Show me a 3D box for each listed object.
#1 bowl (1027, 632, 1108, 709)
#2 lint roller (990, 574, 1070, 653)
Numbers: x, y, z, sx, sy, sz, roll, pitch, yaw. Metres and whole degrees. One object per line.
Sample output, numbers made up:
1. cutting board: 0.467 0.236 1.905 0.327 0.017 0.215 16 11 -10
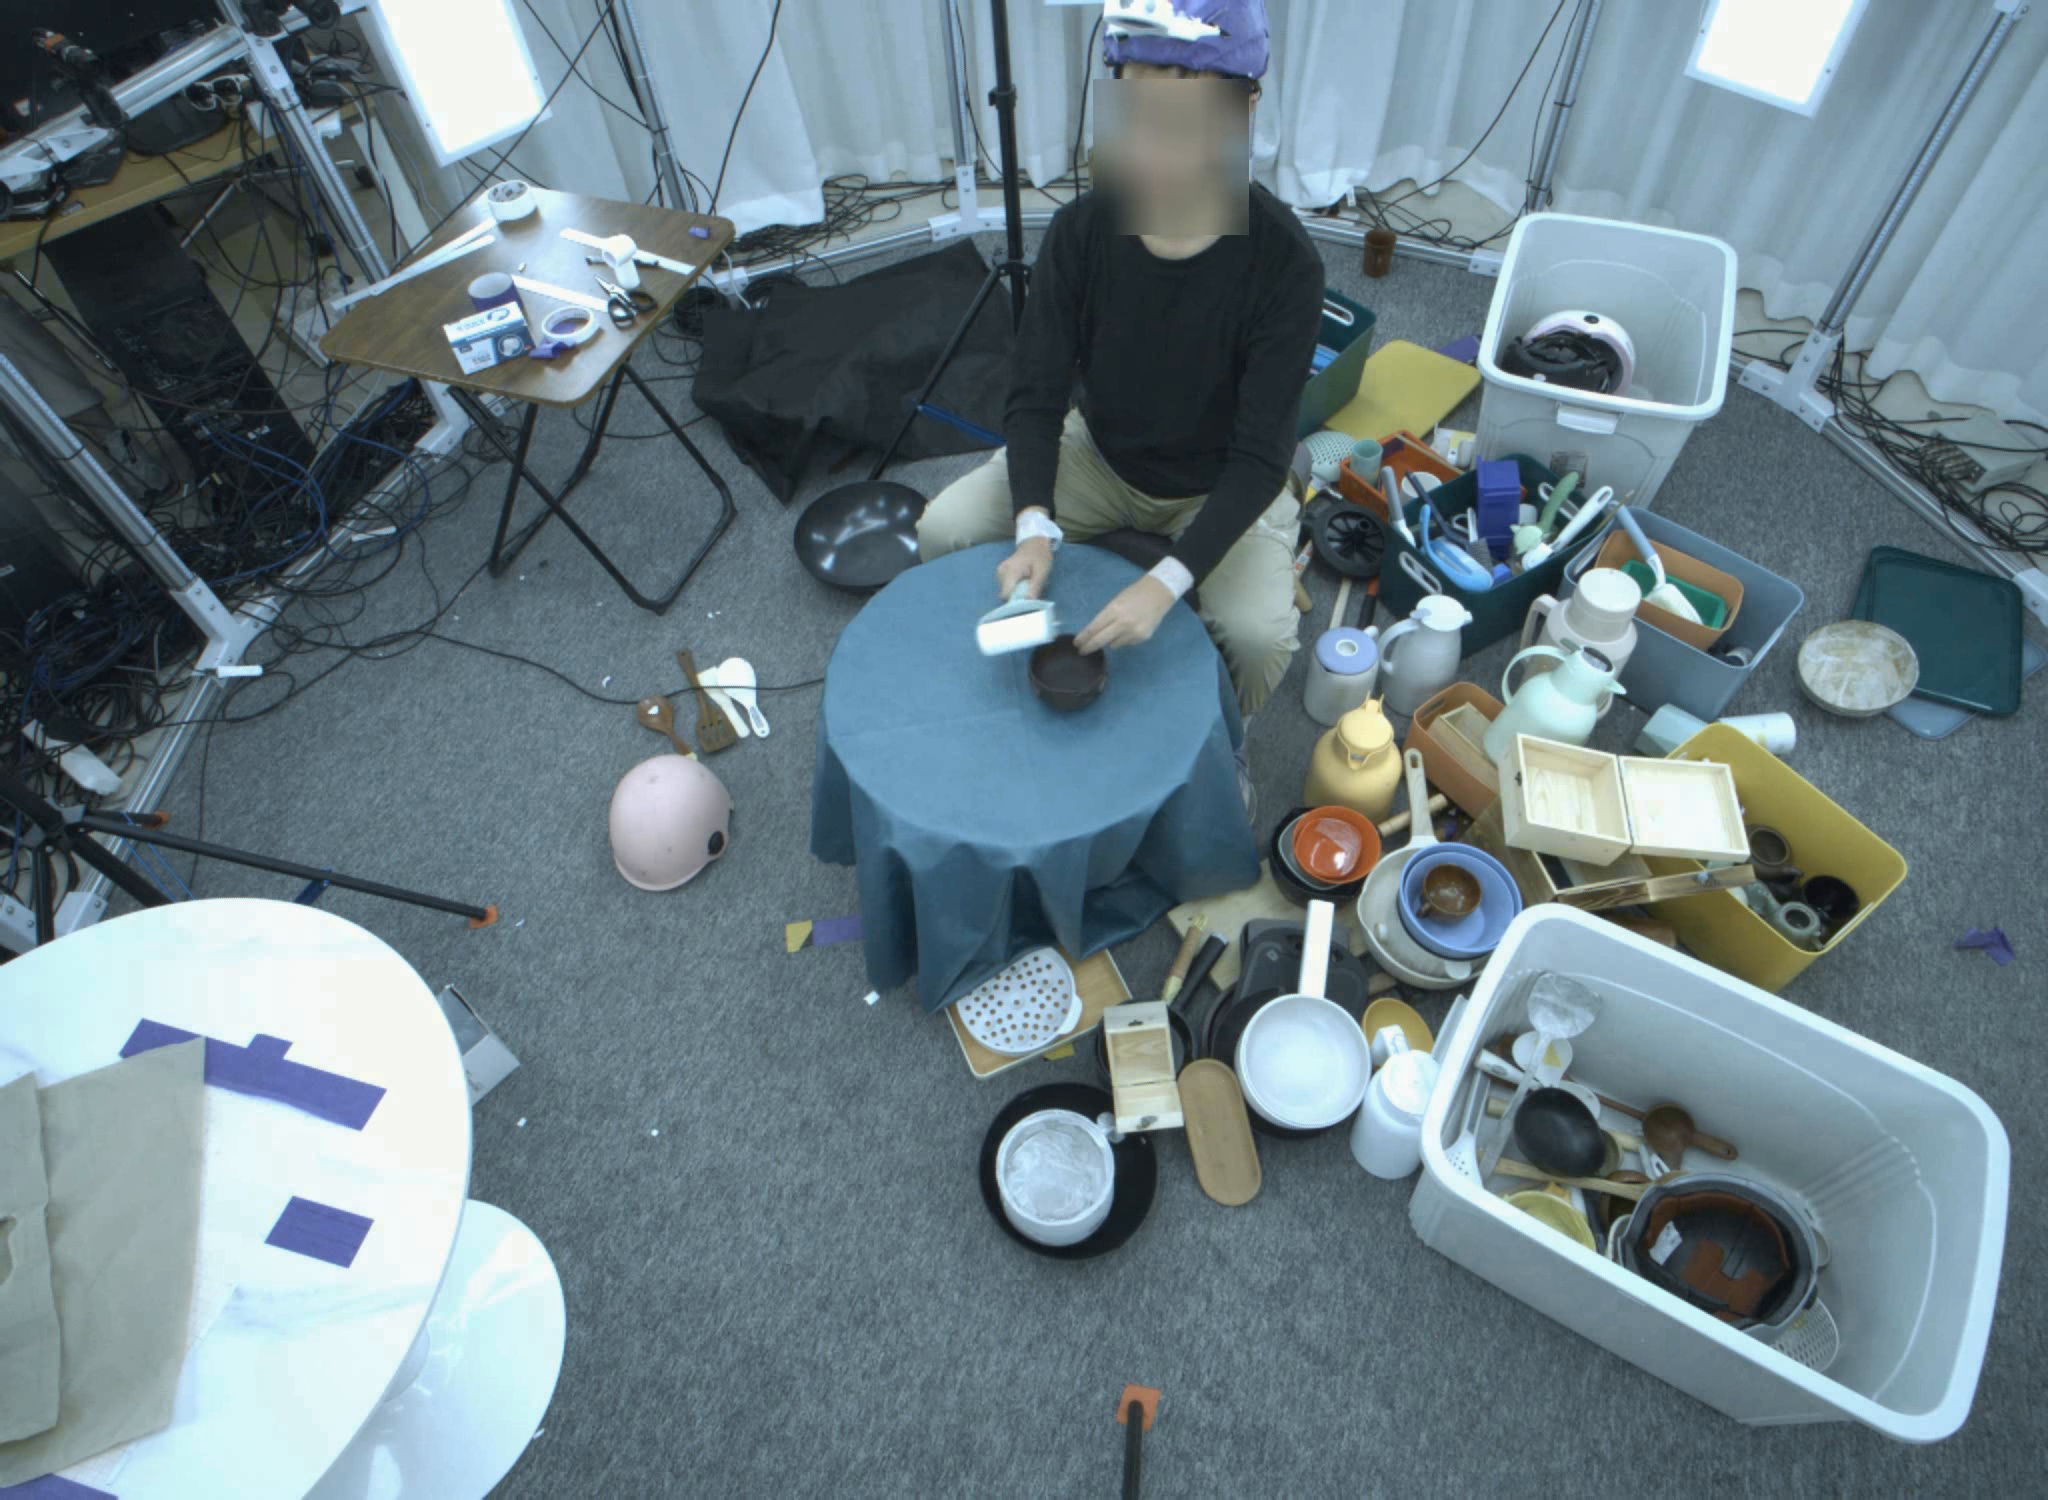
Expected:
1. bowl: 0.065 -0.109 1.819 0.118 0.070 0.117 -1 54 2
2. lint roller: 0.012 -0.224 1.860 0.116 0.049 0.195 -14 38 14
